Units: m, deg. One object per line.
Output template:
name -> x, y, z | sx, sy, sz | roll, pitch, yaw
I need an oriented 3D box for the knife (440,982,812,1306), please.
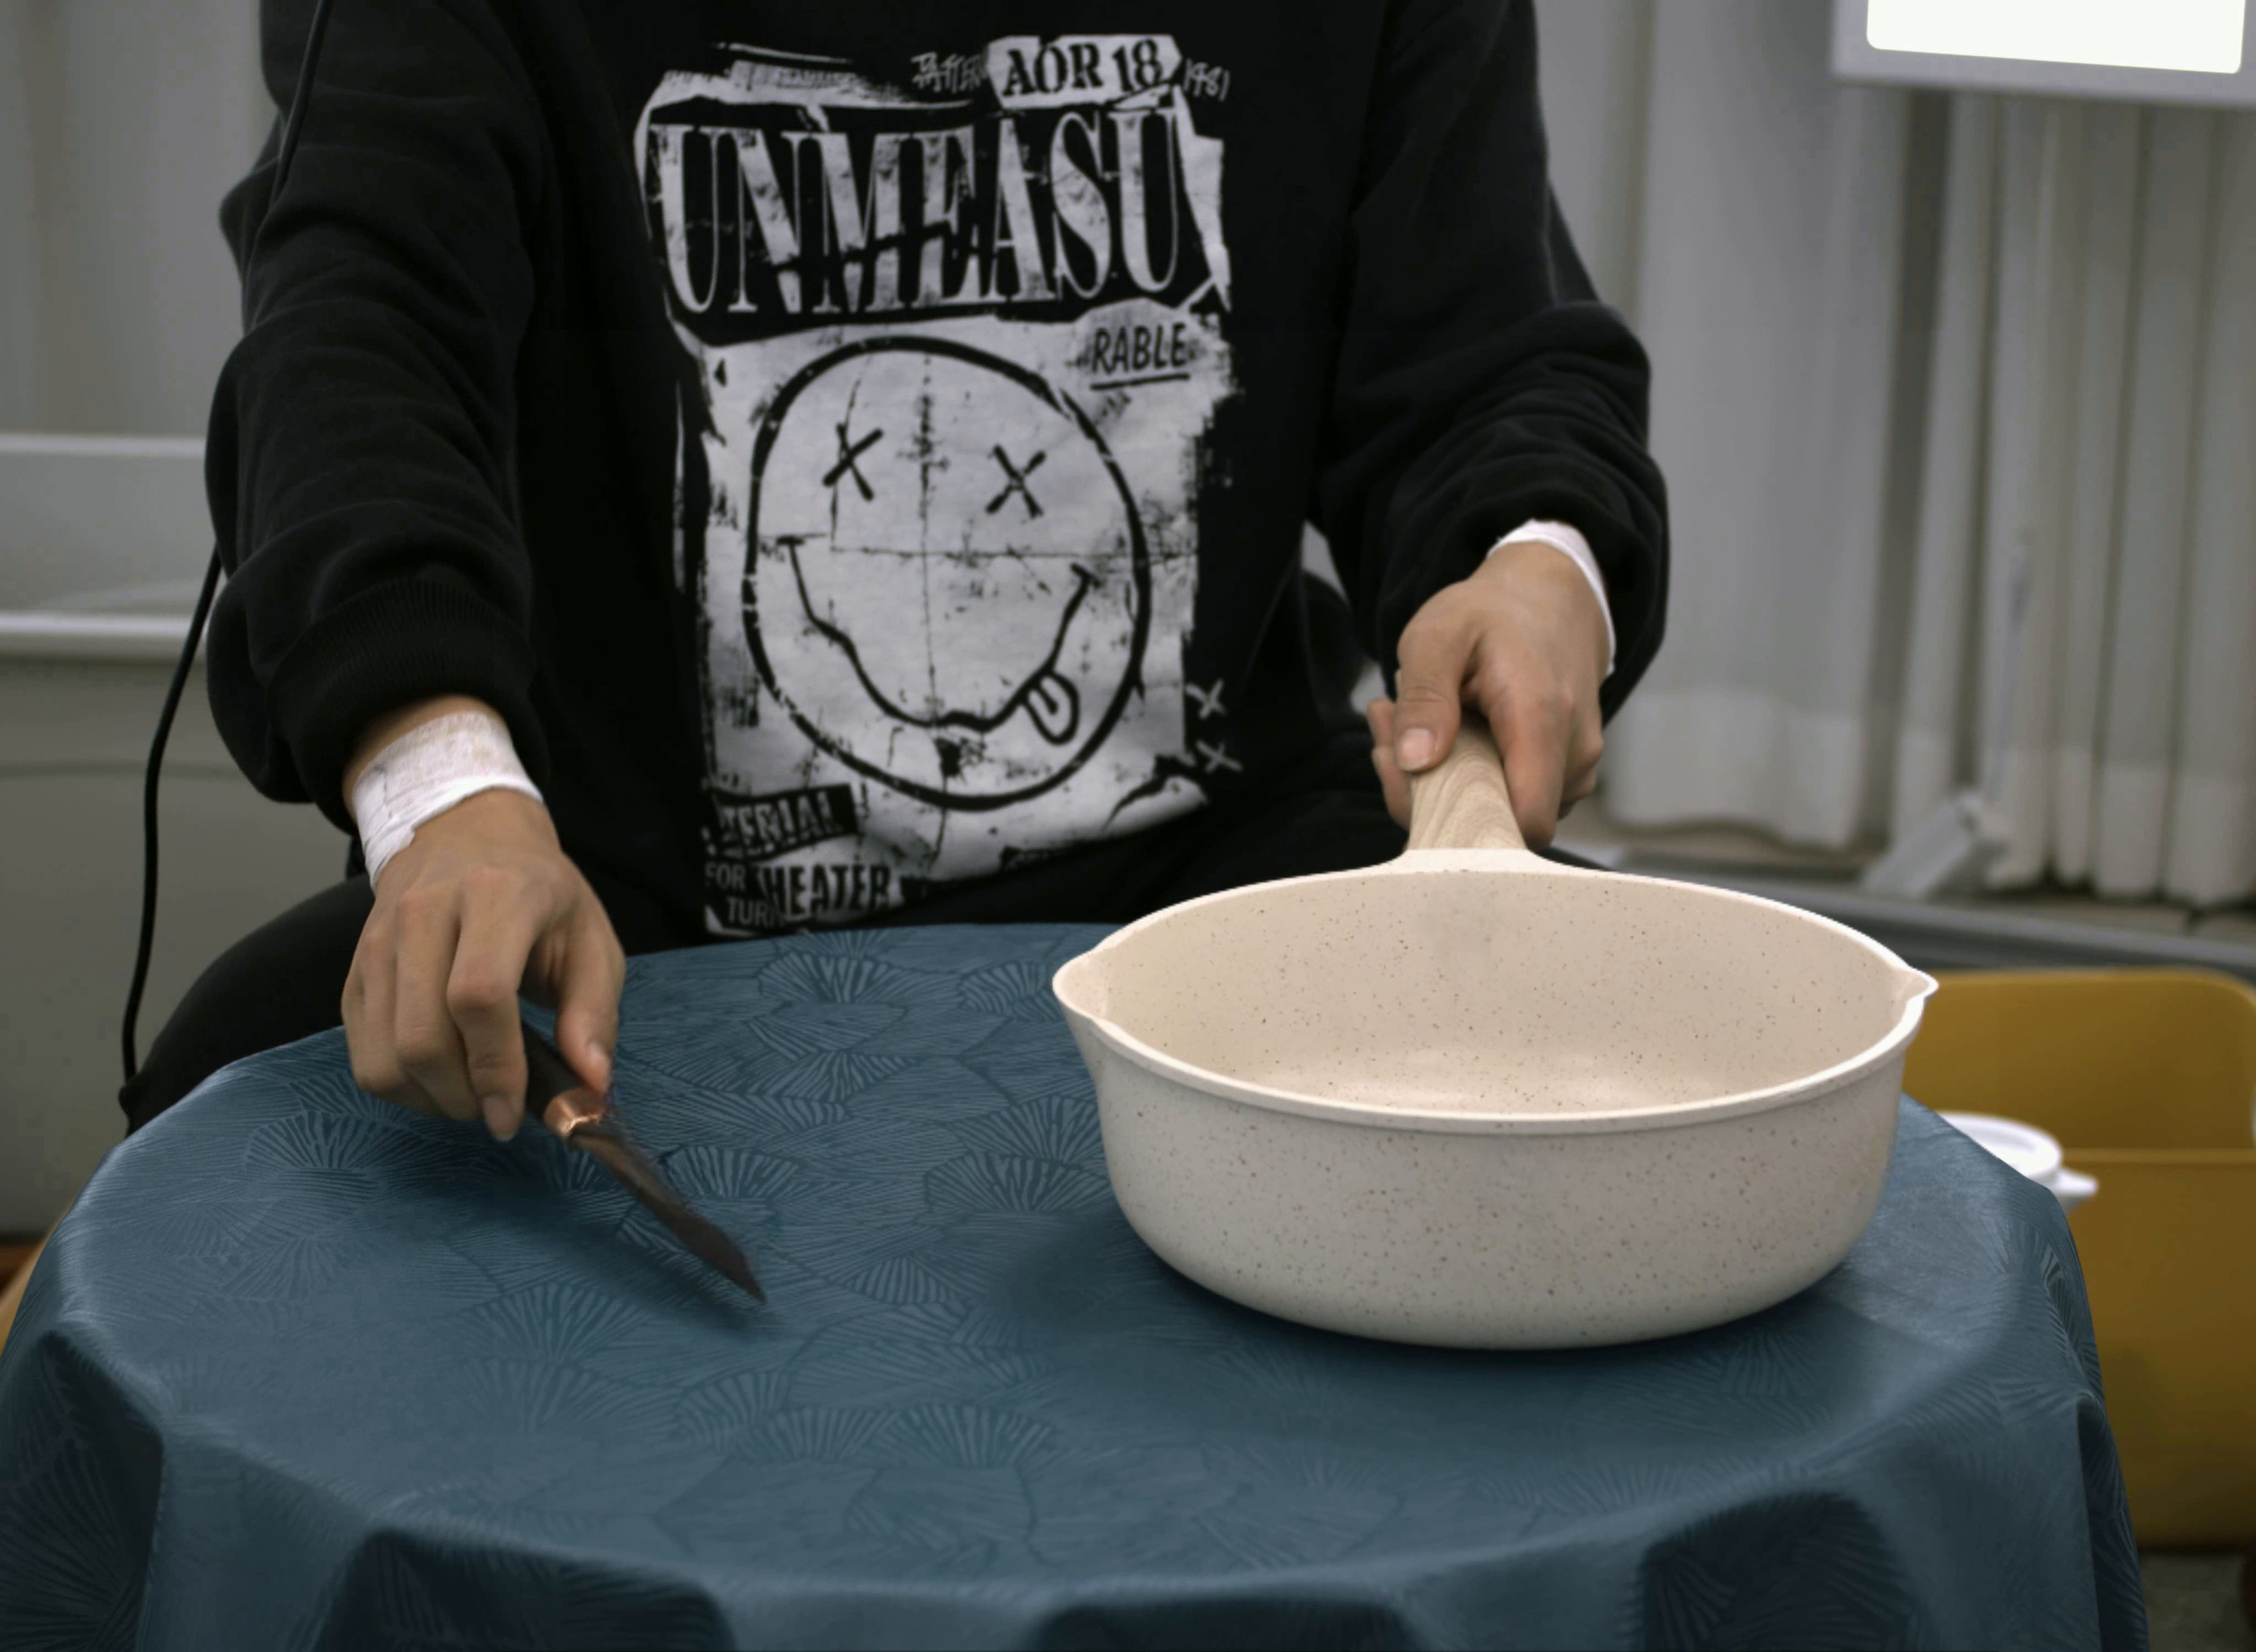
knife -> -0.154, 0.094, 1.582 | 0.026, 0.017, 0.222 | 20, 9, -38

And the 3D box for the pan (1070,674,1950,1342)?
pan -> 0.112, 0.052, 1.658 | 0.262, 0.103, 0.432 | -2, 15, -1
